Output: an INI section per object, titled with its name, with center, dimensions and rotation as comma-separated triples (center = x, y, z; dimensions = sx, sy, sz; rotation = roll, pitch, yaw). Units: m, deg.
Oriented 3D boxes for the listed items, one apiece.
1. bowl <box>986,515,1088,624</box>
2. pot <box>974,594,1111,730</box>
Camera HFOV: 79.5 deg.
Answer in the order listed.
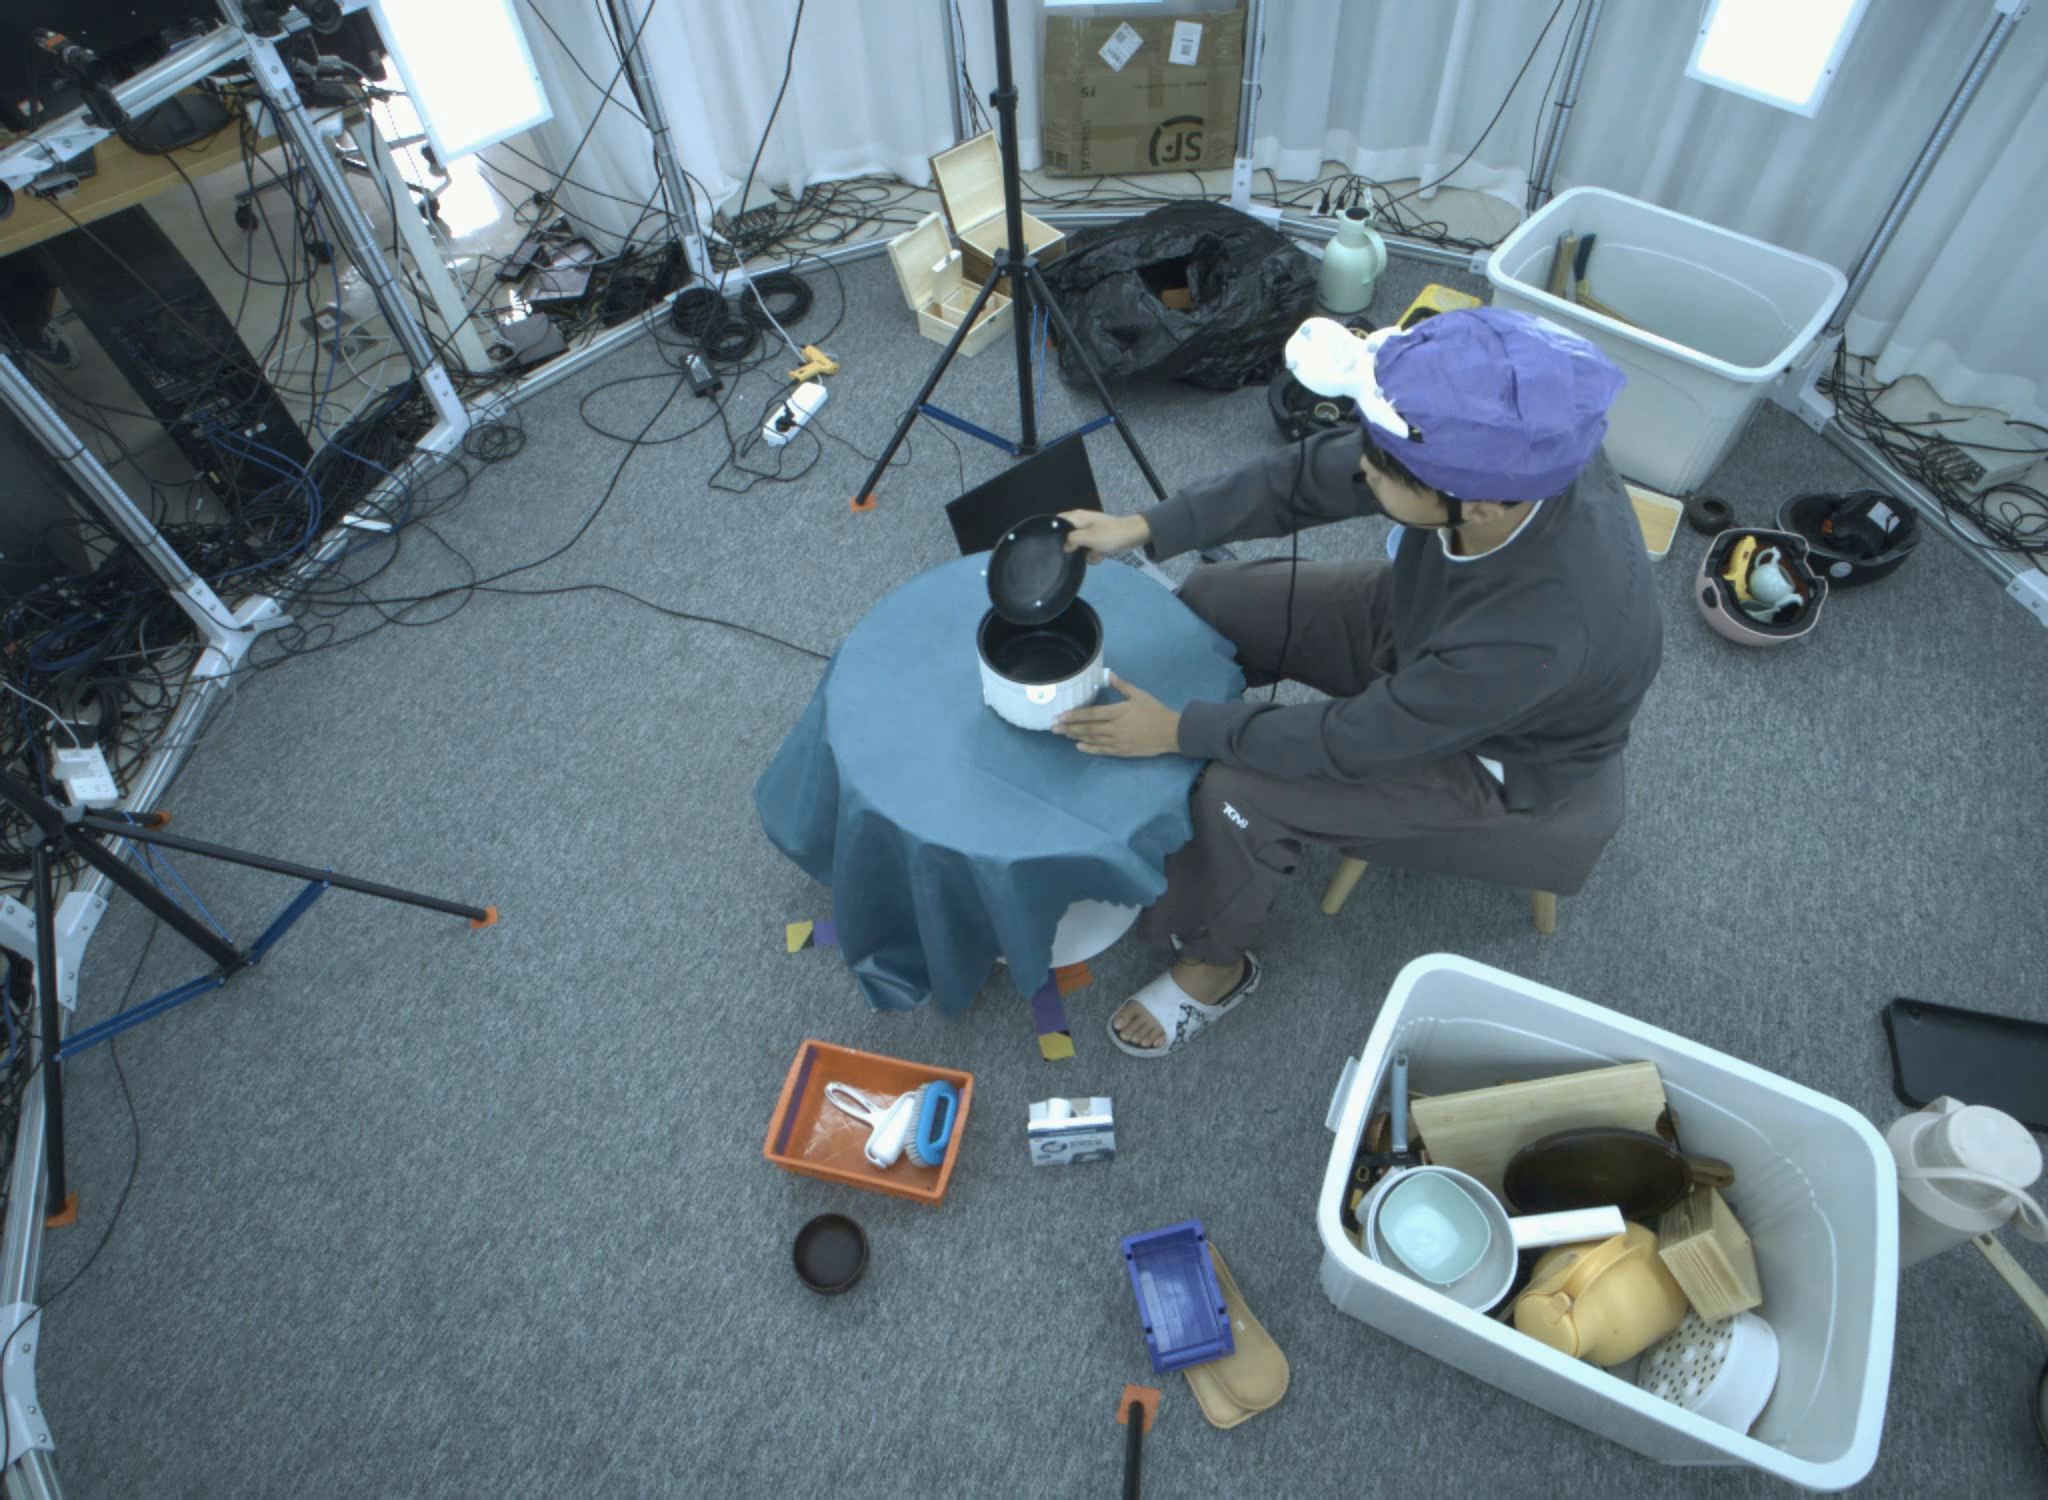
[bowl]
center = 0.010, -0.257, 1.736
dimensions = 0.170, 0.139, 0.065
rotation = -52, 23, -9
[pot]
center = 0.029, -0.127, 1.792
dimensions = 0.190, 0.144, 0.237
rotation = -5, 56, 2
